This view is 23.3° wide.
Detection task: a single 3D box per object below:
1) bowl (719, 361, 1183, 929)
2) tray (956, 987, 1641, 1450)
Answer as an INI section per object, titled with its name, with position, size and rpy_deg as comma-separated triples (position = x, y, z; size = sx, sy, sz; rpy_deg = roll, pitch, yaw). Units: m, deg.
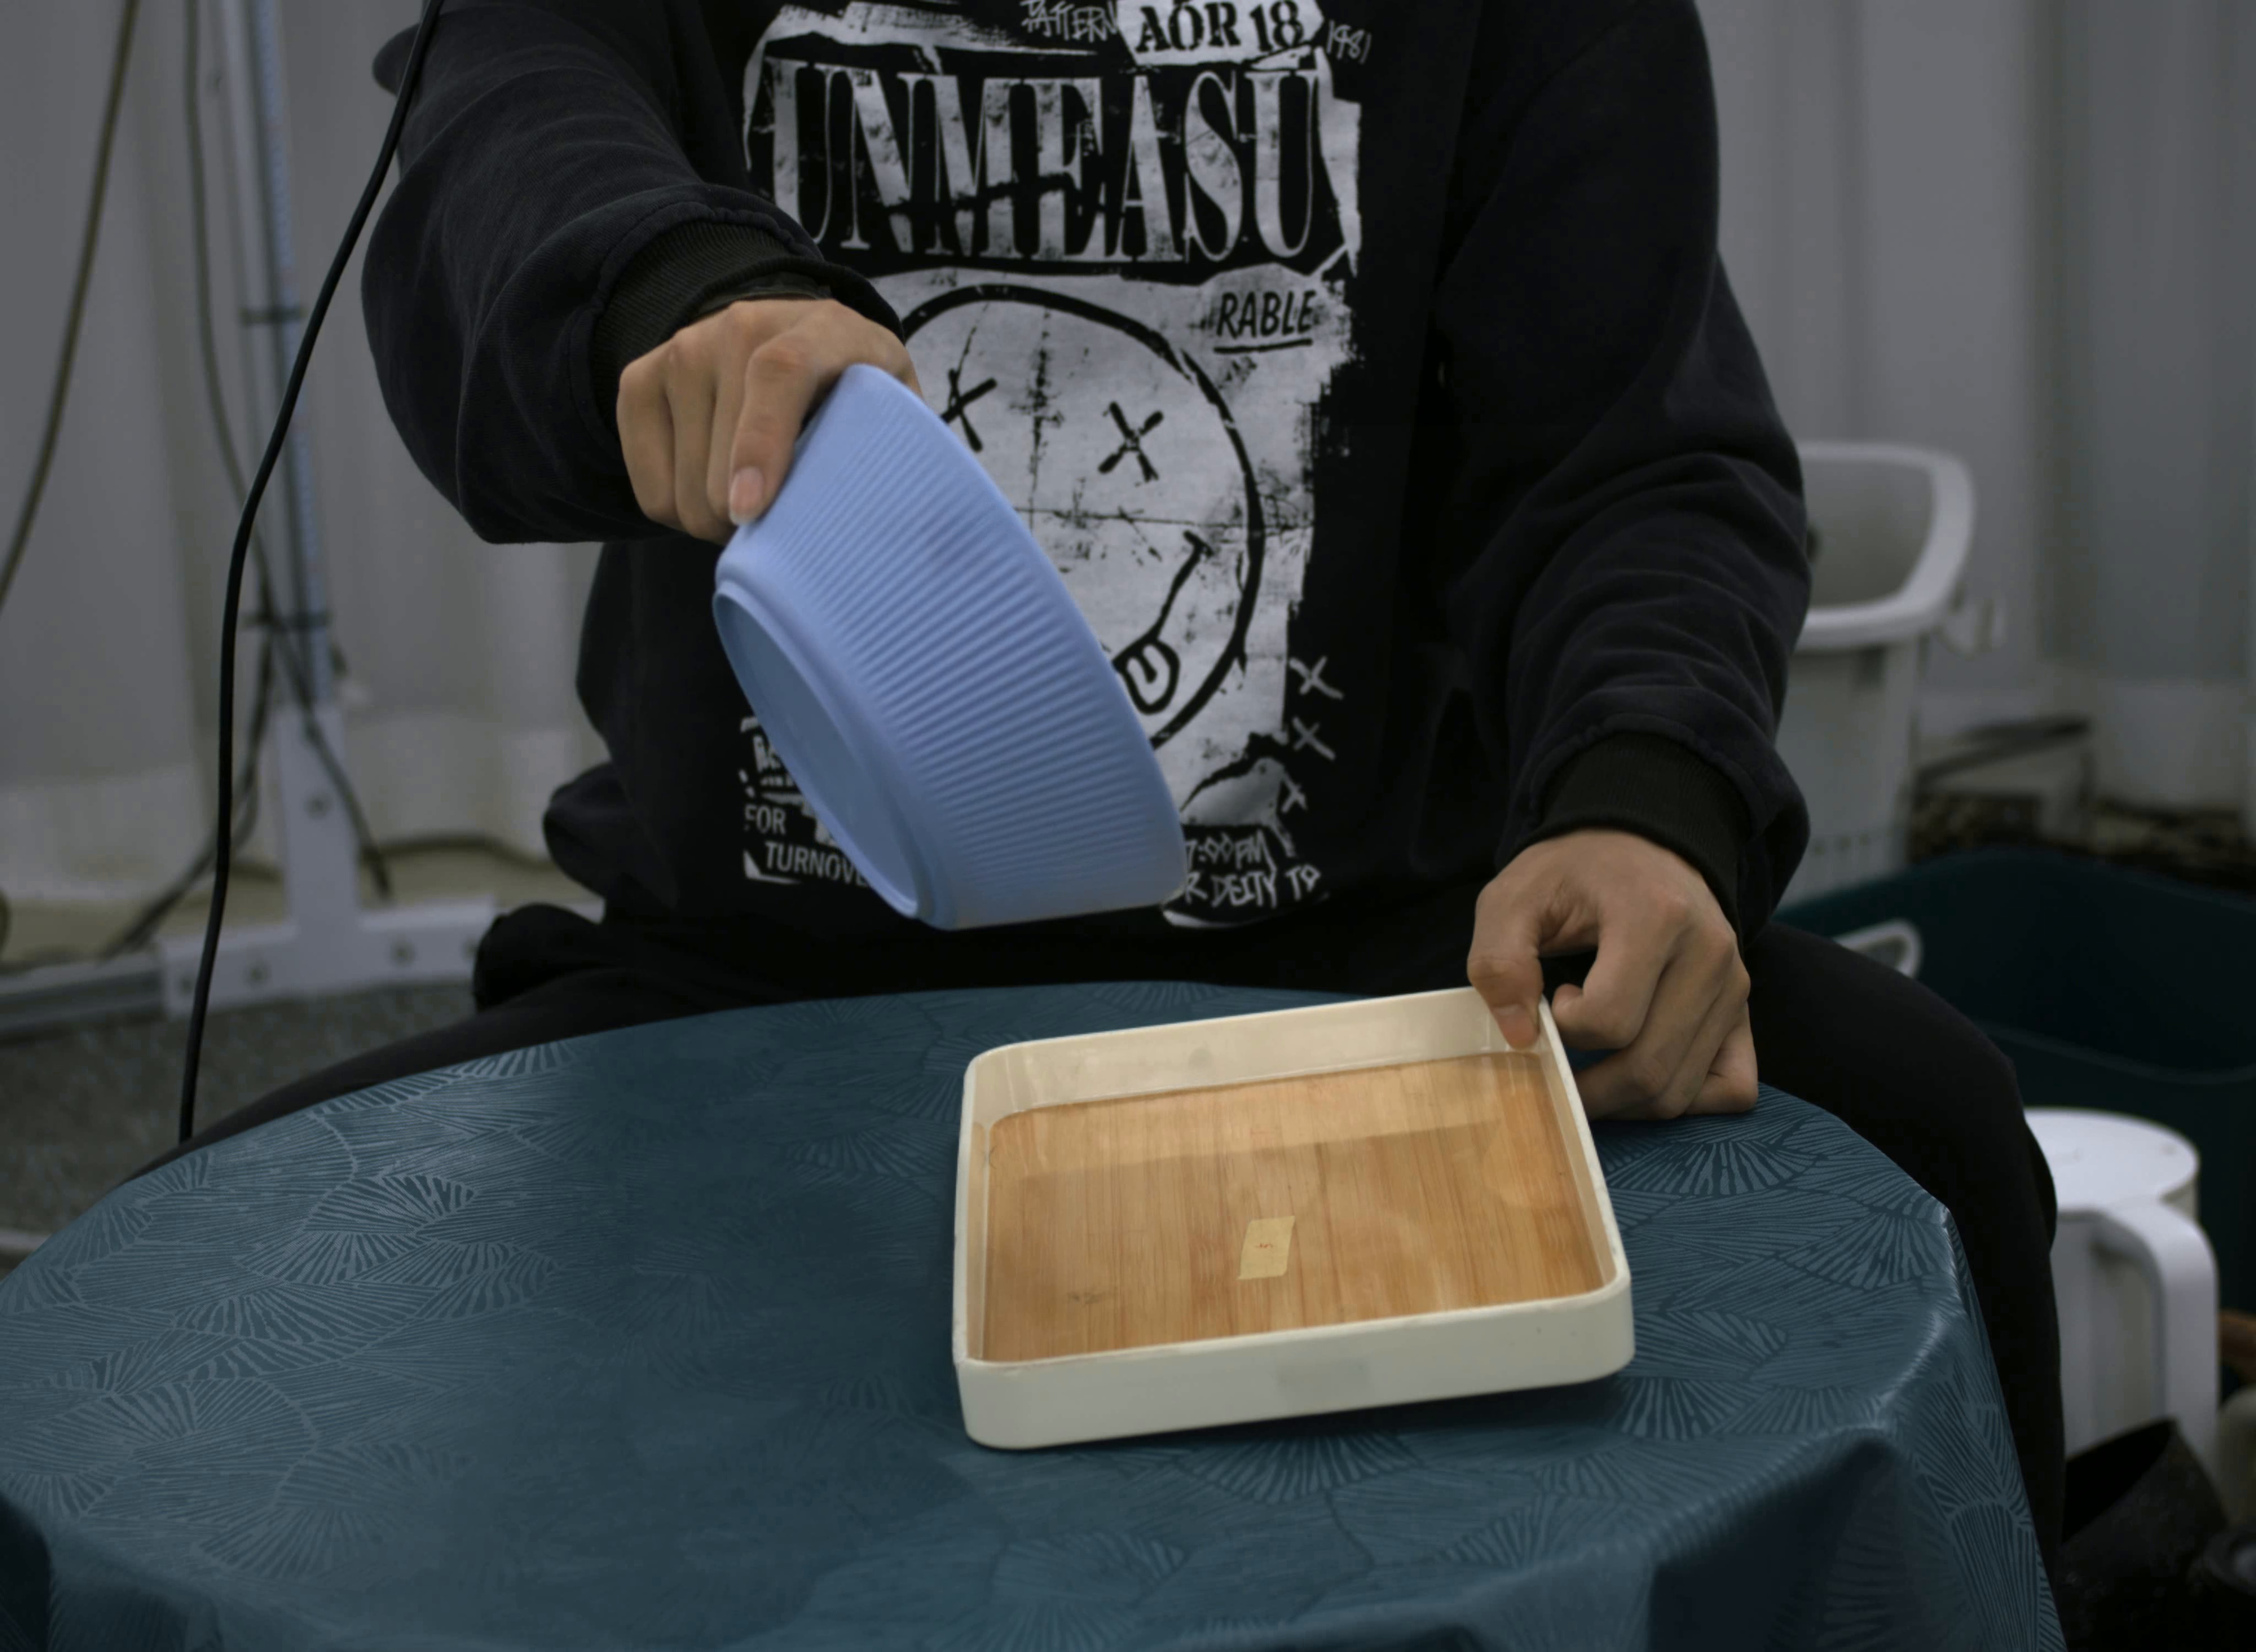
[bowl]
position = -0.058, -0.038, 1.535
size = 0.070, 0.174, 0.177
rpy_deg = -30, 22, -13
[tray]
position = 0.045, 0.113, 1.638
size = 0.191, 0.027, 0.302
rpy_deg = -7, 15, 1
